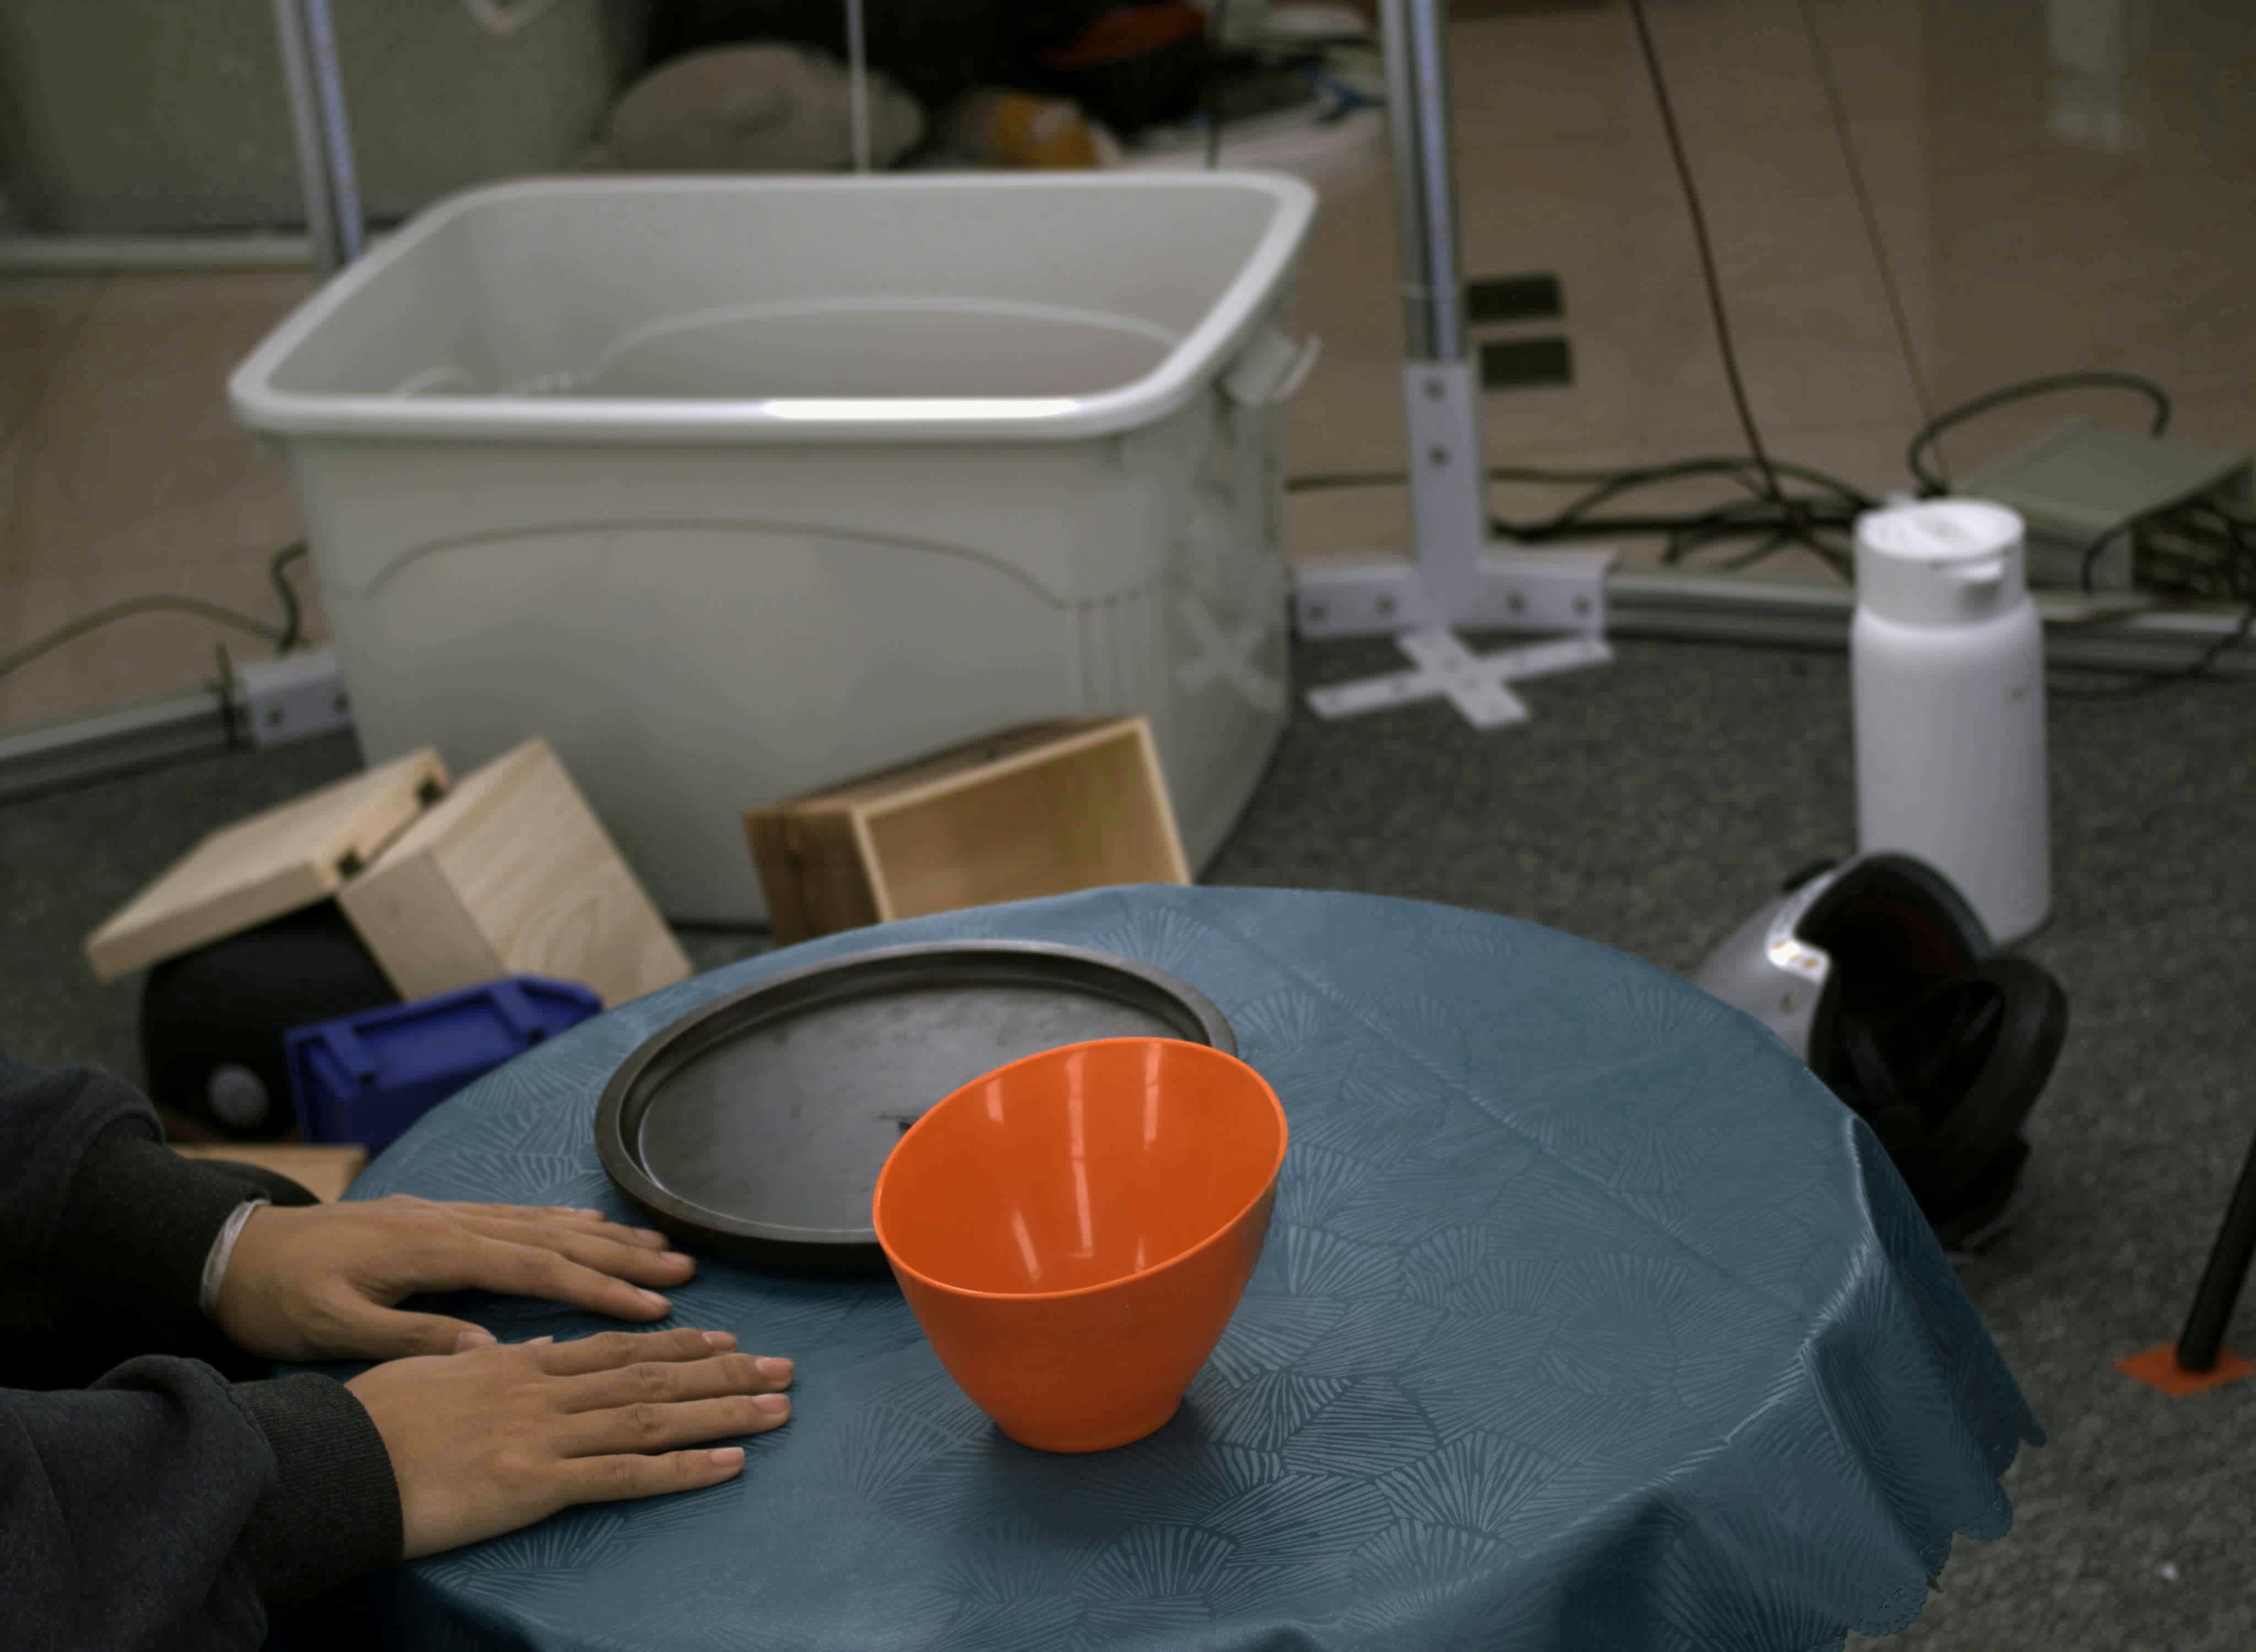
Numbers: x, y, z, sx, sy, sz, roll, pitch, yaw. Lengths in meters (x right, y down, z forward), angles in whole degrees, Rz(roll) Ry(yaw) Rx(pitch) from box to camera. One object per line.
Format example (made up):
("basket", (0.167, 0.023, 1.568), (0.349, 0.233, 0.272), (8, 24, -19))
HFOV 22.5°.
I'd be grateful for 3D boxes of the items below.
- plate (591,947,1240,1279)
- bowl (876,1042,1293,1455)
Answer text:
("plate", (-0.082, 0.109, 2.204), (0.254, 0.029, 0.251), (-5, 26, 3))
("bowl", (-0.012, 0.155, 1.994), (0.148, 0.106, 0.146), (-5, 26, 2))
